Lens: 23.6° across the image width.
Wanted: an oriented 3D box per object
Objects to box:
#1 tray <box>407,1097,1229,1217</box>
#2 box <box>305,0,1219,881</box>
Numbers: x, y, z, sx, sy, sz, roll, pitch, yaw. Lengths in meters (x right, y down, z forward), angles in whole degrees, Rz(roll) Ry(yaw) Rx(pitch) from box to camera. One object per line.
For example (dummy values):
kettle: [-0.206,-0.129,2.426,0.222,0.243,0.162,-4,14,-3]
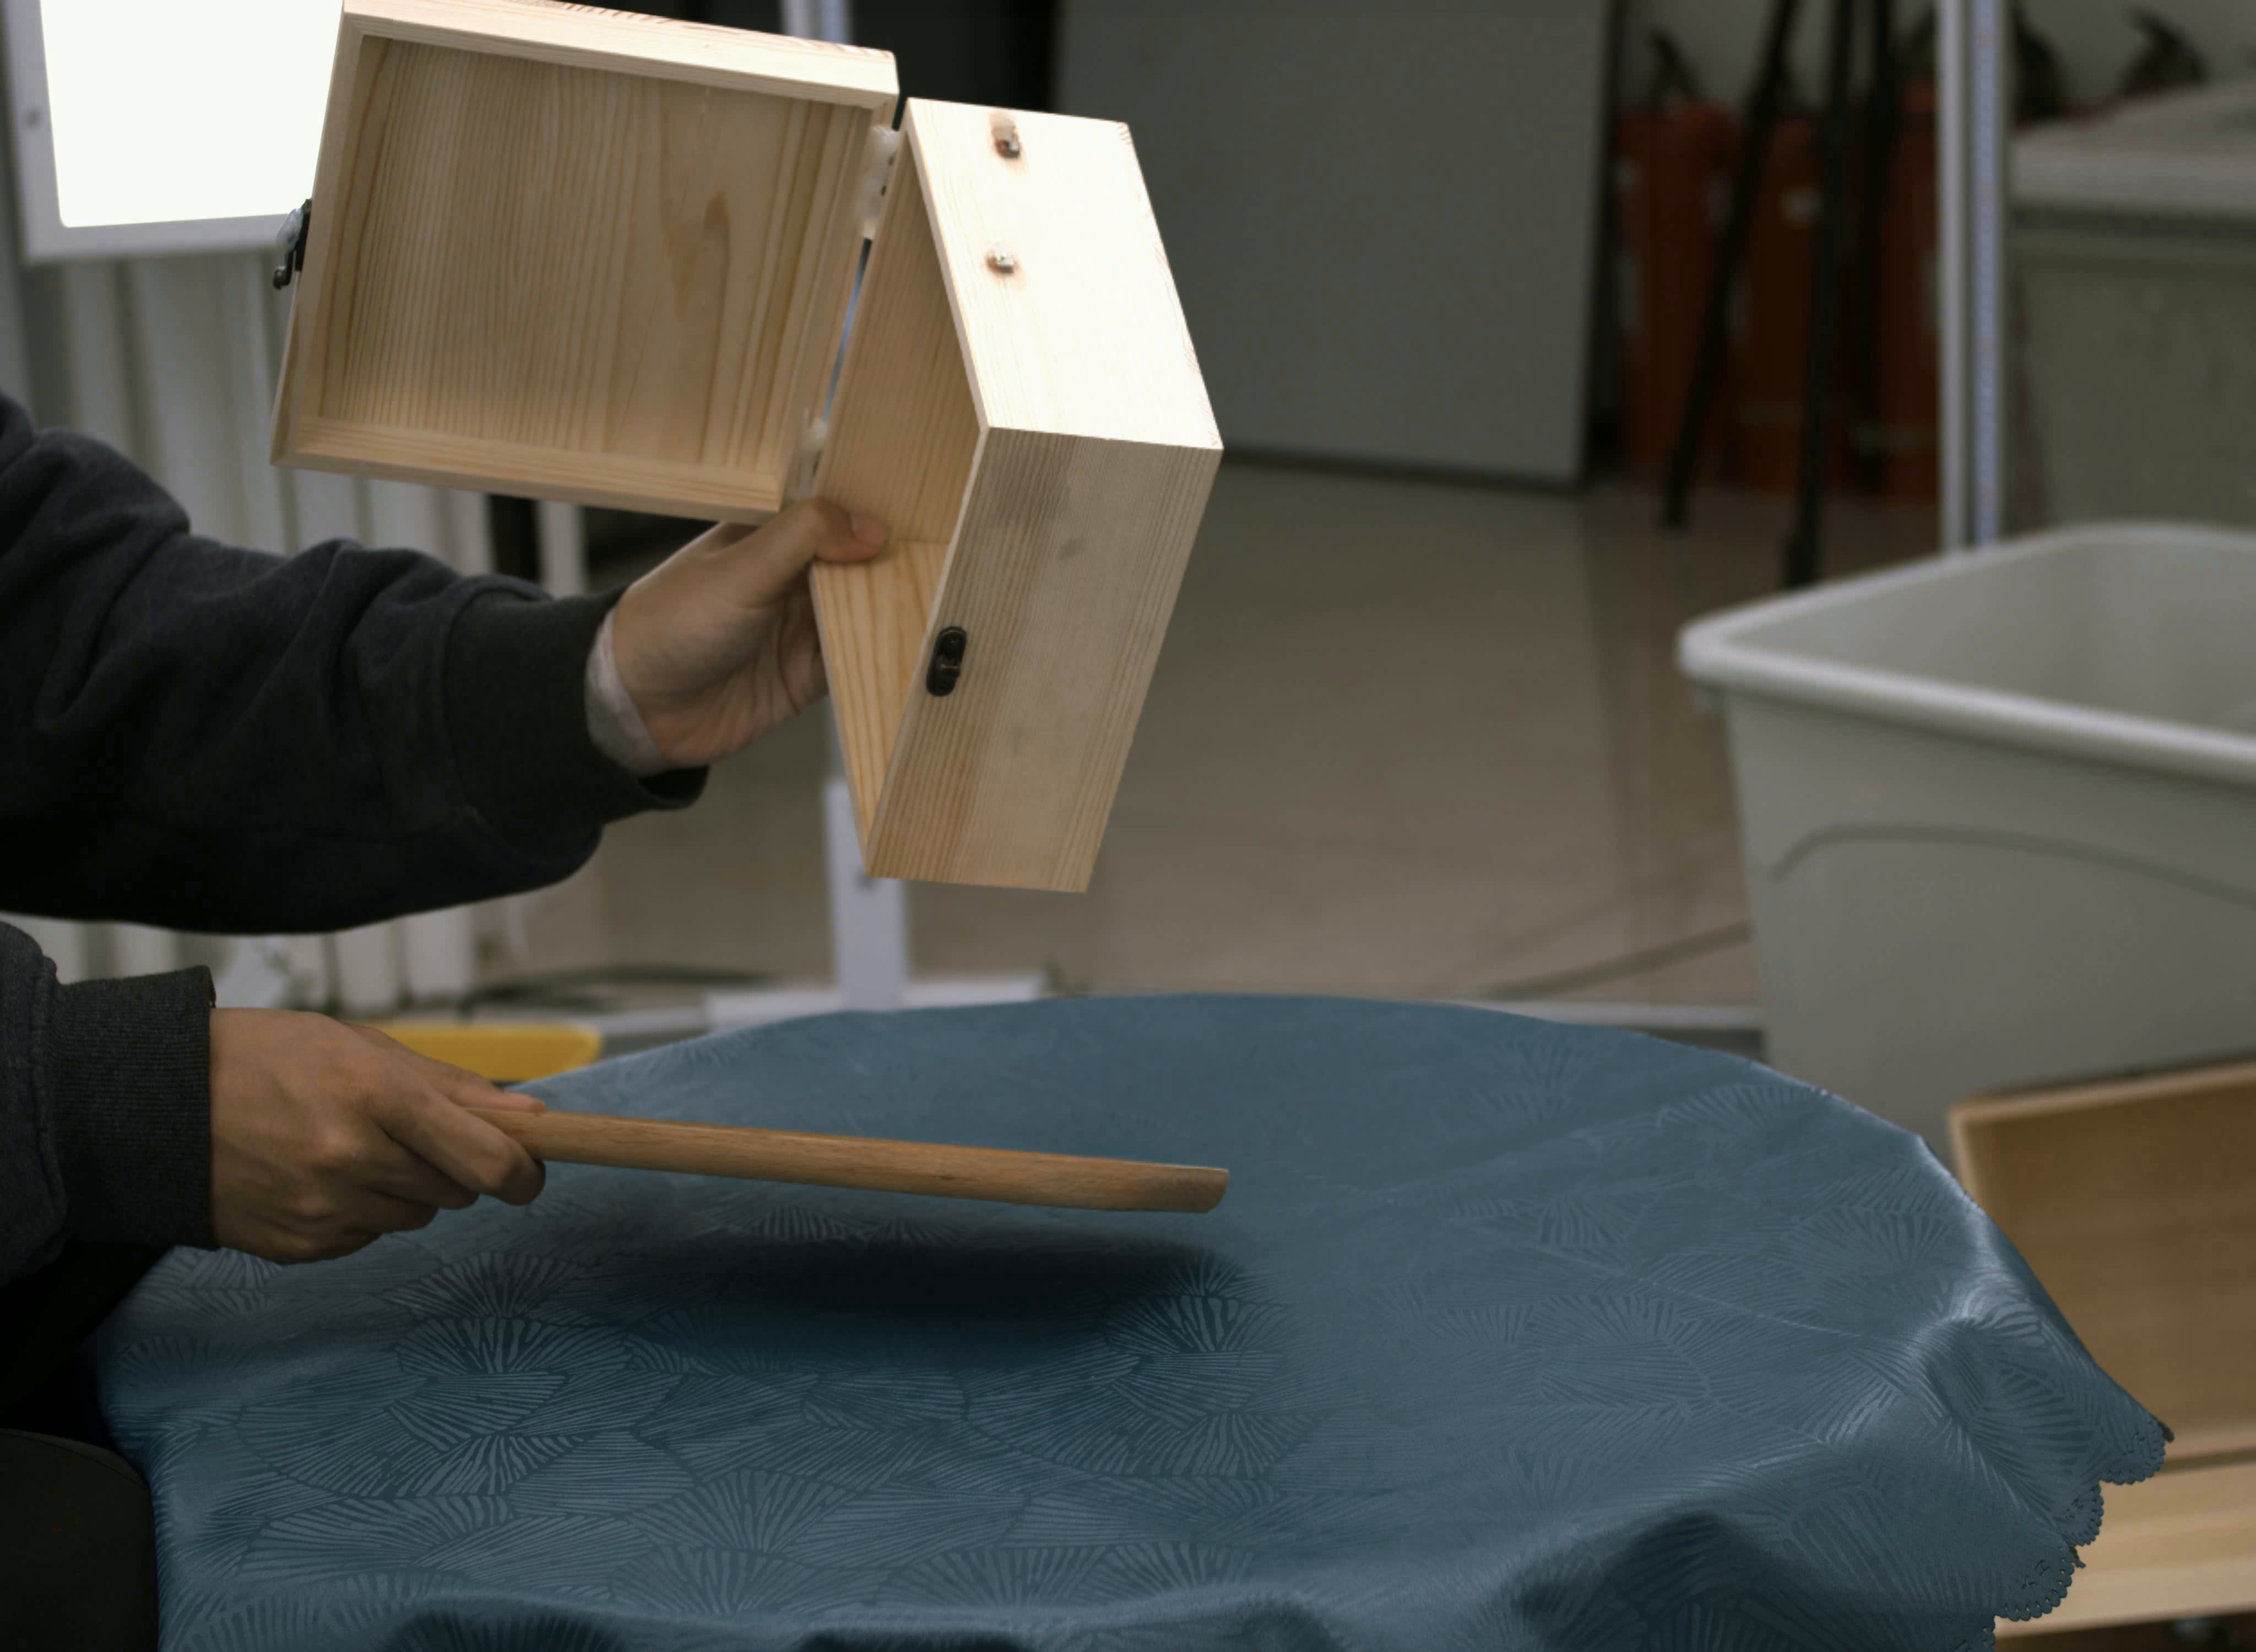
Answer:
tray: [-0.098,0.104,1.698,0.250,0.023,0.129,3,-7,22]
box: [-0.128,-0.138,1.740,0.248,0.183,0.268,3,38,-13]
